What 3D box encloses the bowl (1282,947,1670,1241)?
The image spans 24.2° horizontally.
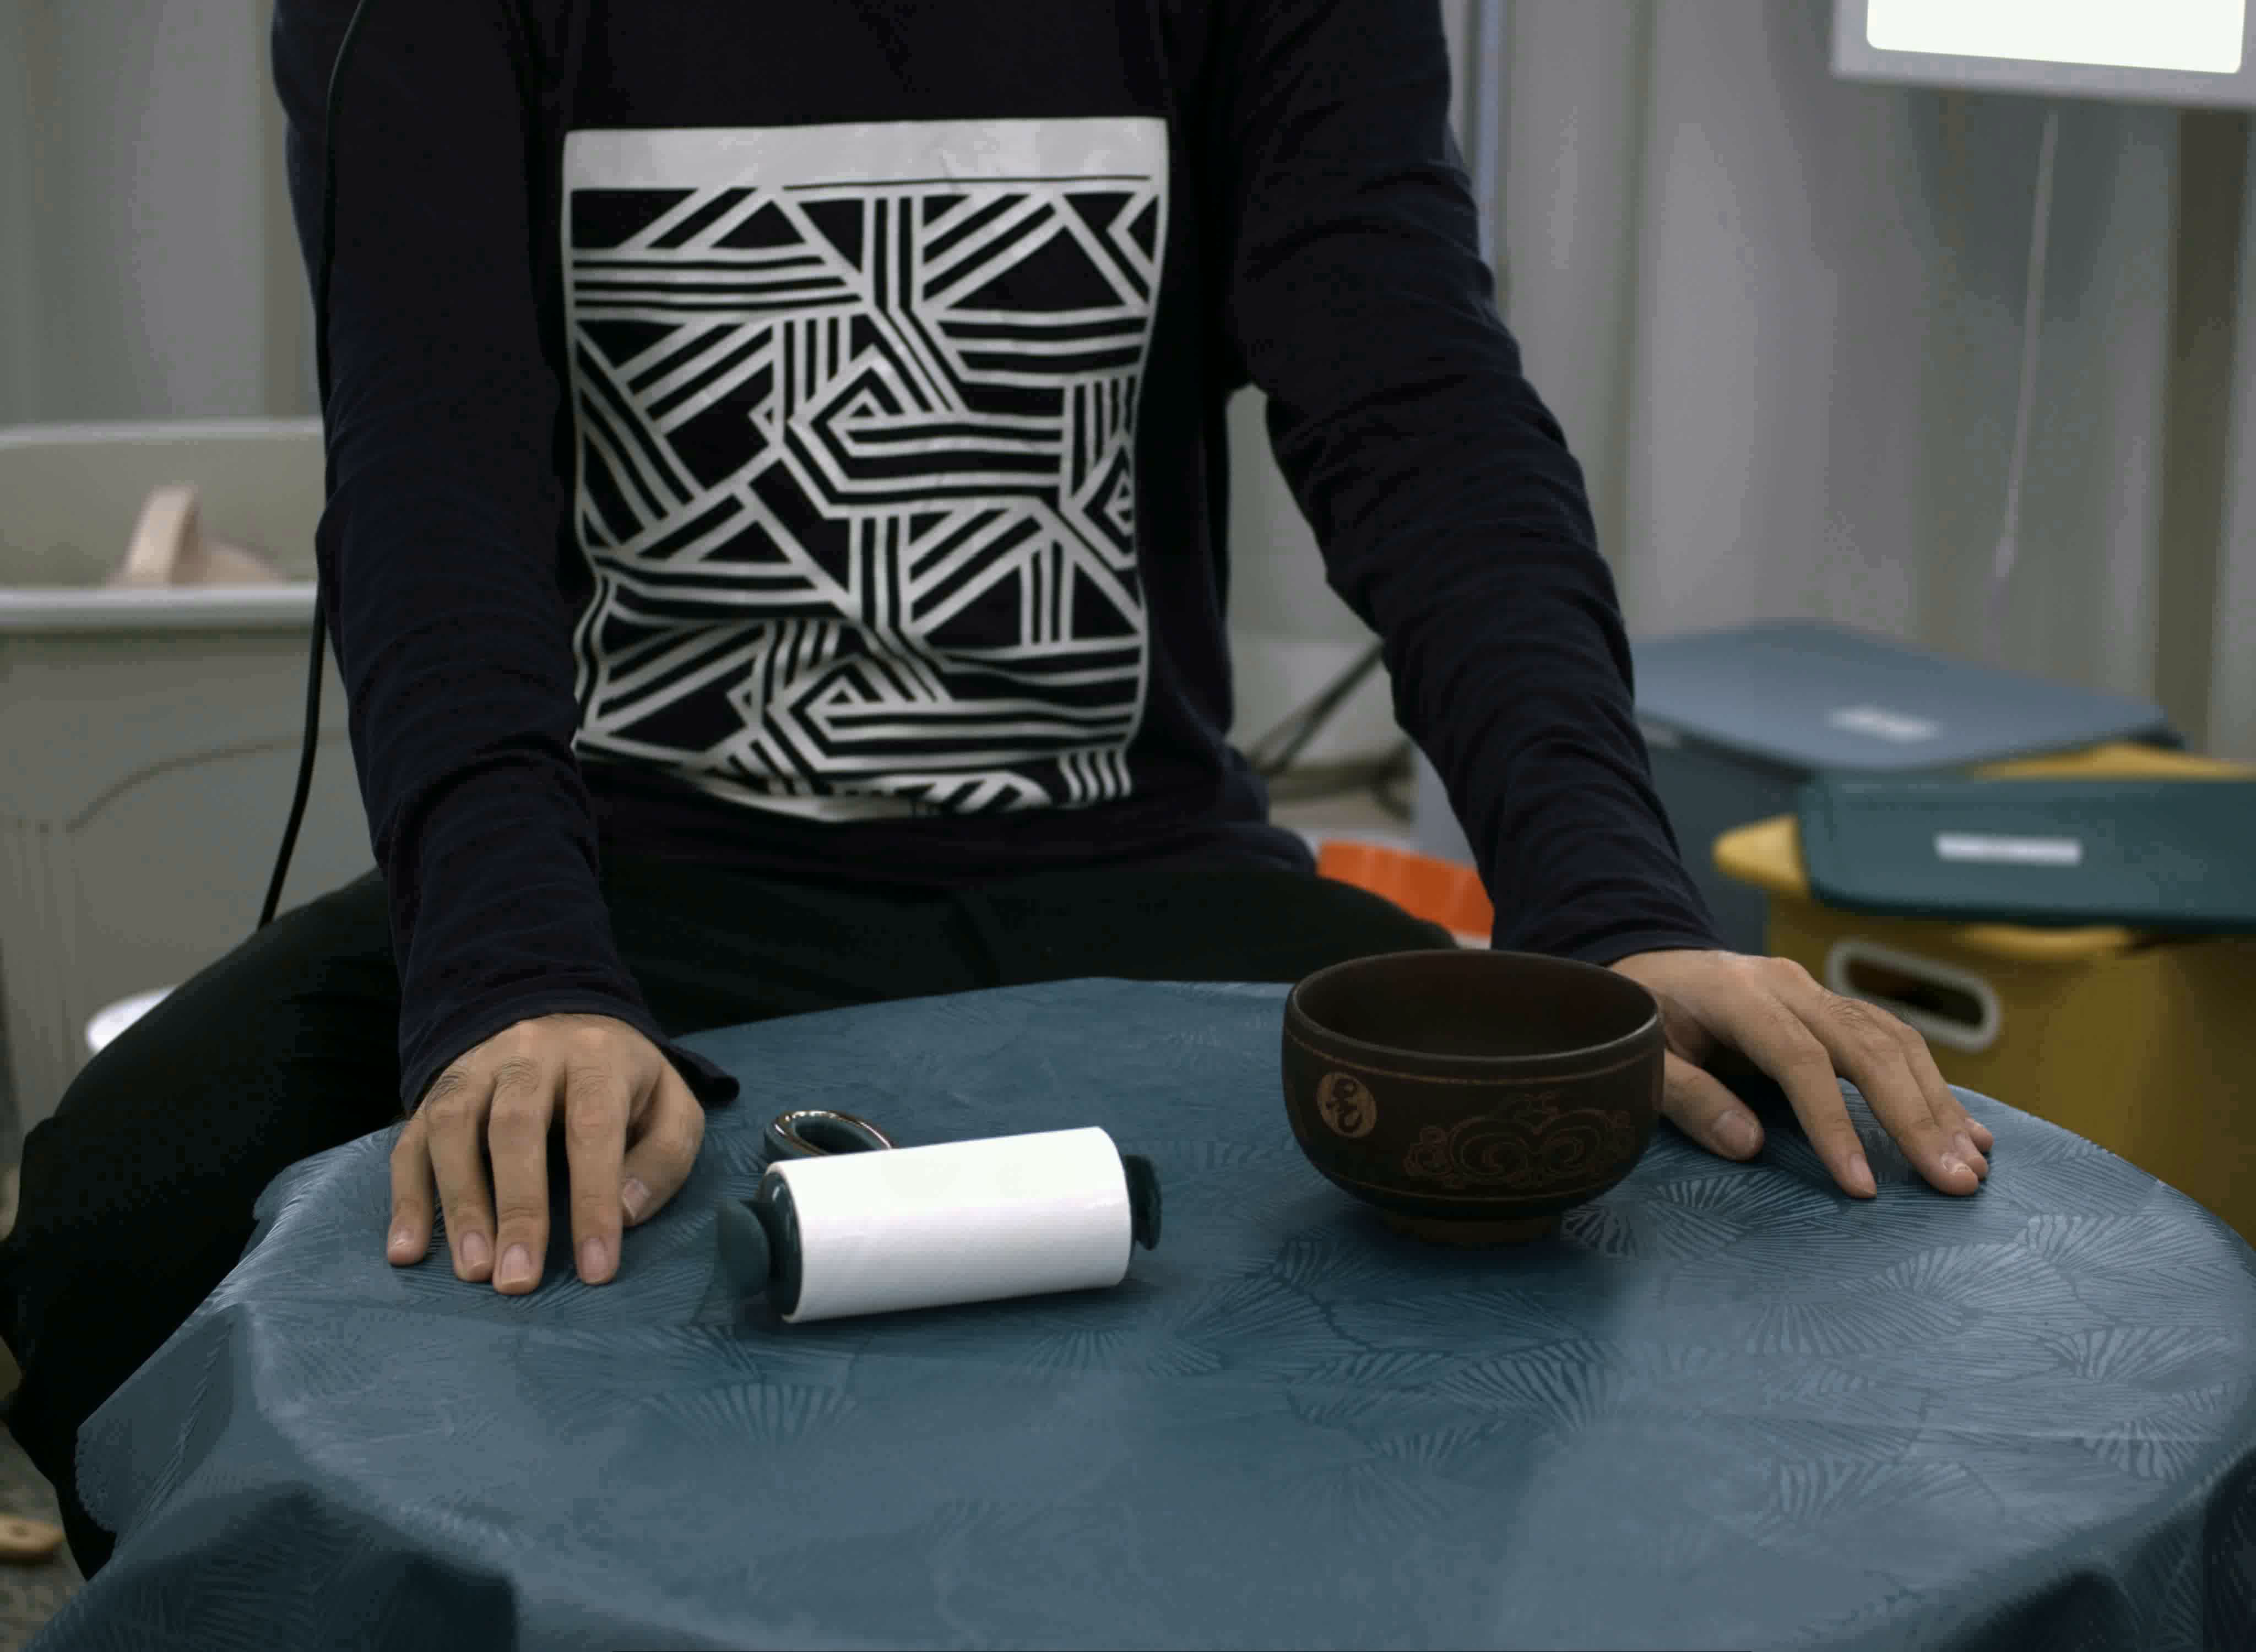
[{"bbox_3d":[0.105,0.084,1.594,0.117,0.070,0.117,-2,14,1],"label":"bowl"}]

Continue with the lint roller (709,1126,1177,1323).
[{"bbox_3d":[-0.076,0.102,1.584,0.134,0.048,0.178,-5,13,-20],"label":"lint roller"}]
